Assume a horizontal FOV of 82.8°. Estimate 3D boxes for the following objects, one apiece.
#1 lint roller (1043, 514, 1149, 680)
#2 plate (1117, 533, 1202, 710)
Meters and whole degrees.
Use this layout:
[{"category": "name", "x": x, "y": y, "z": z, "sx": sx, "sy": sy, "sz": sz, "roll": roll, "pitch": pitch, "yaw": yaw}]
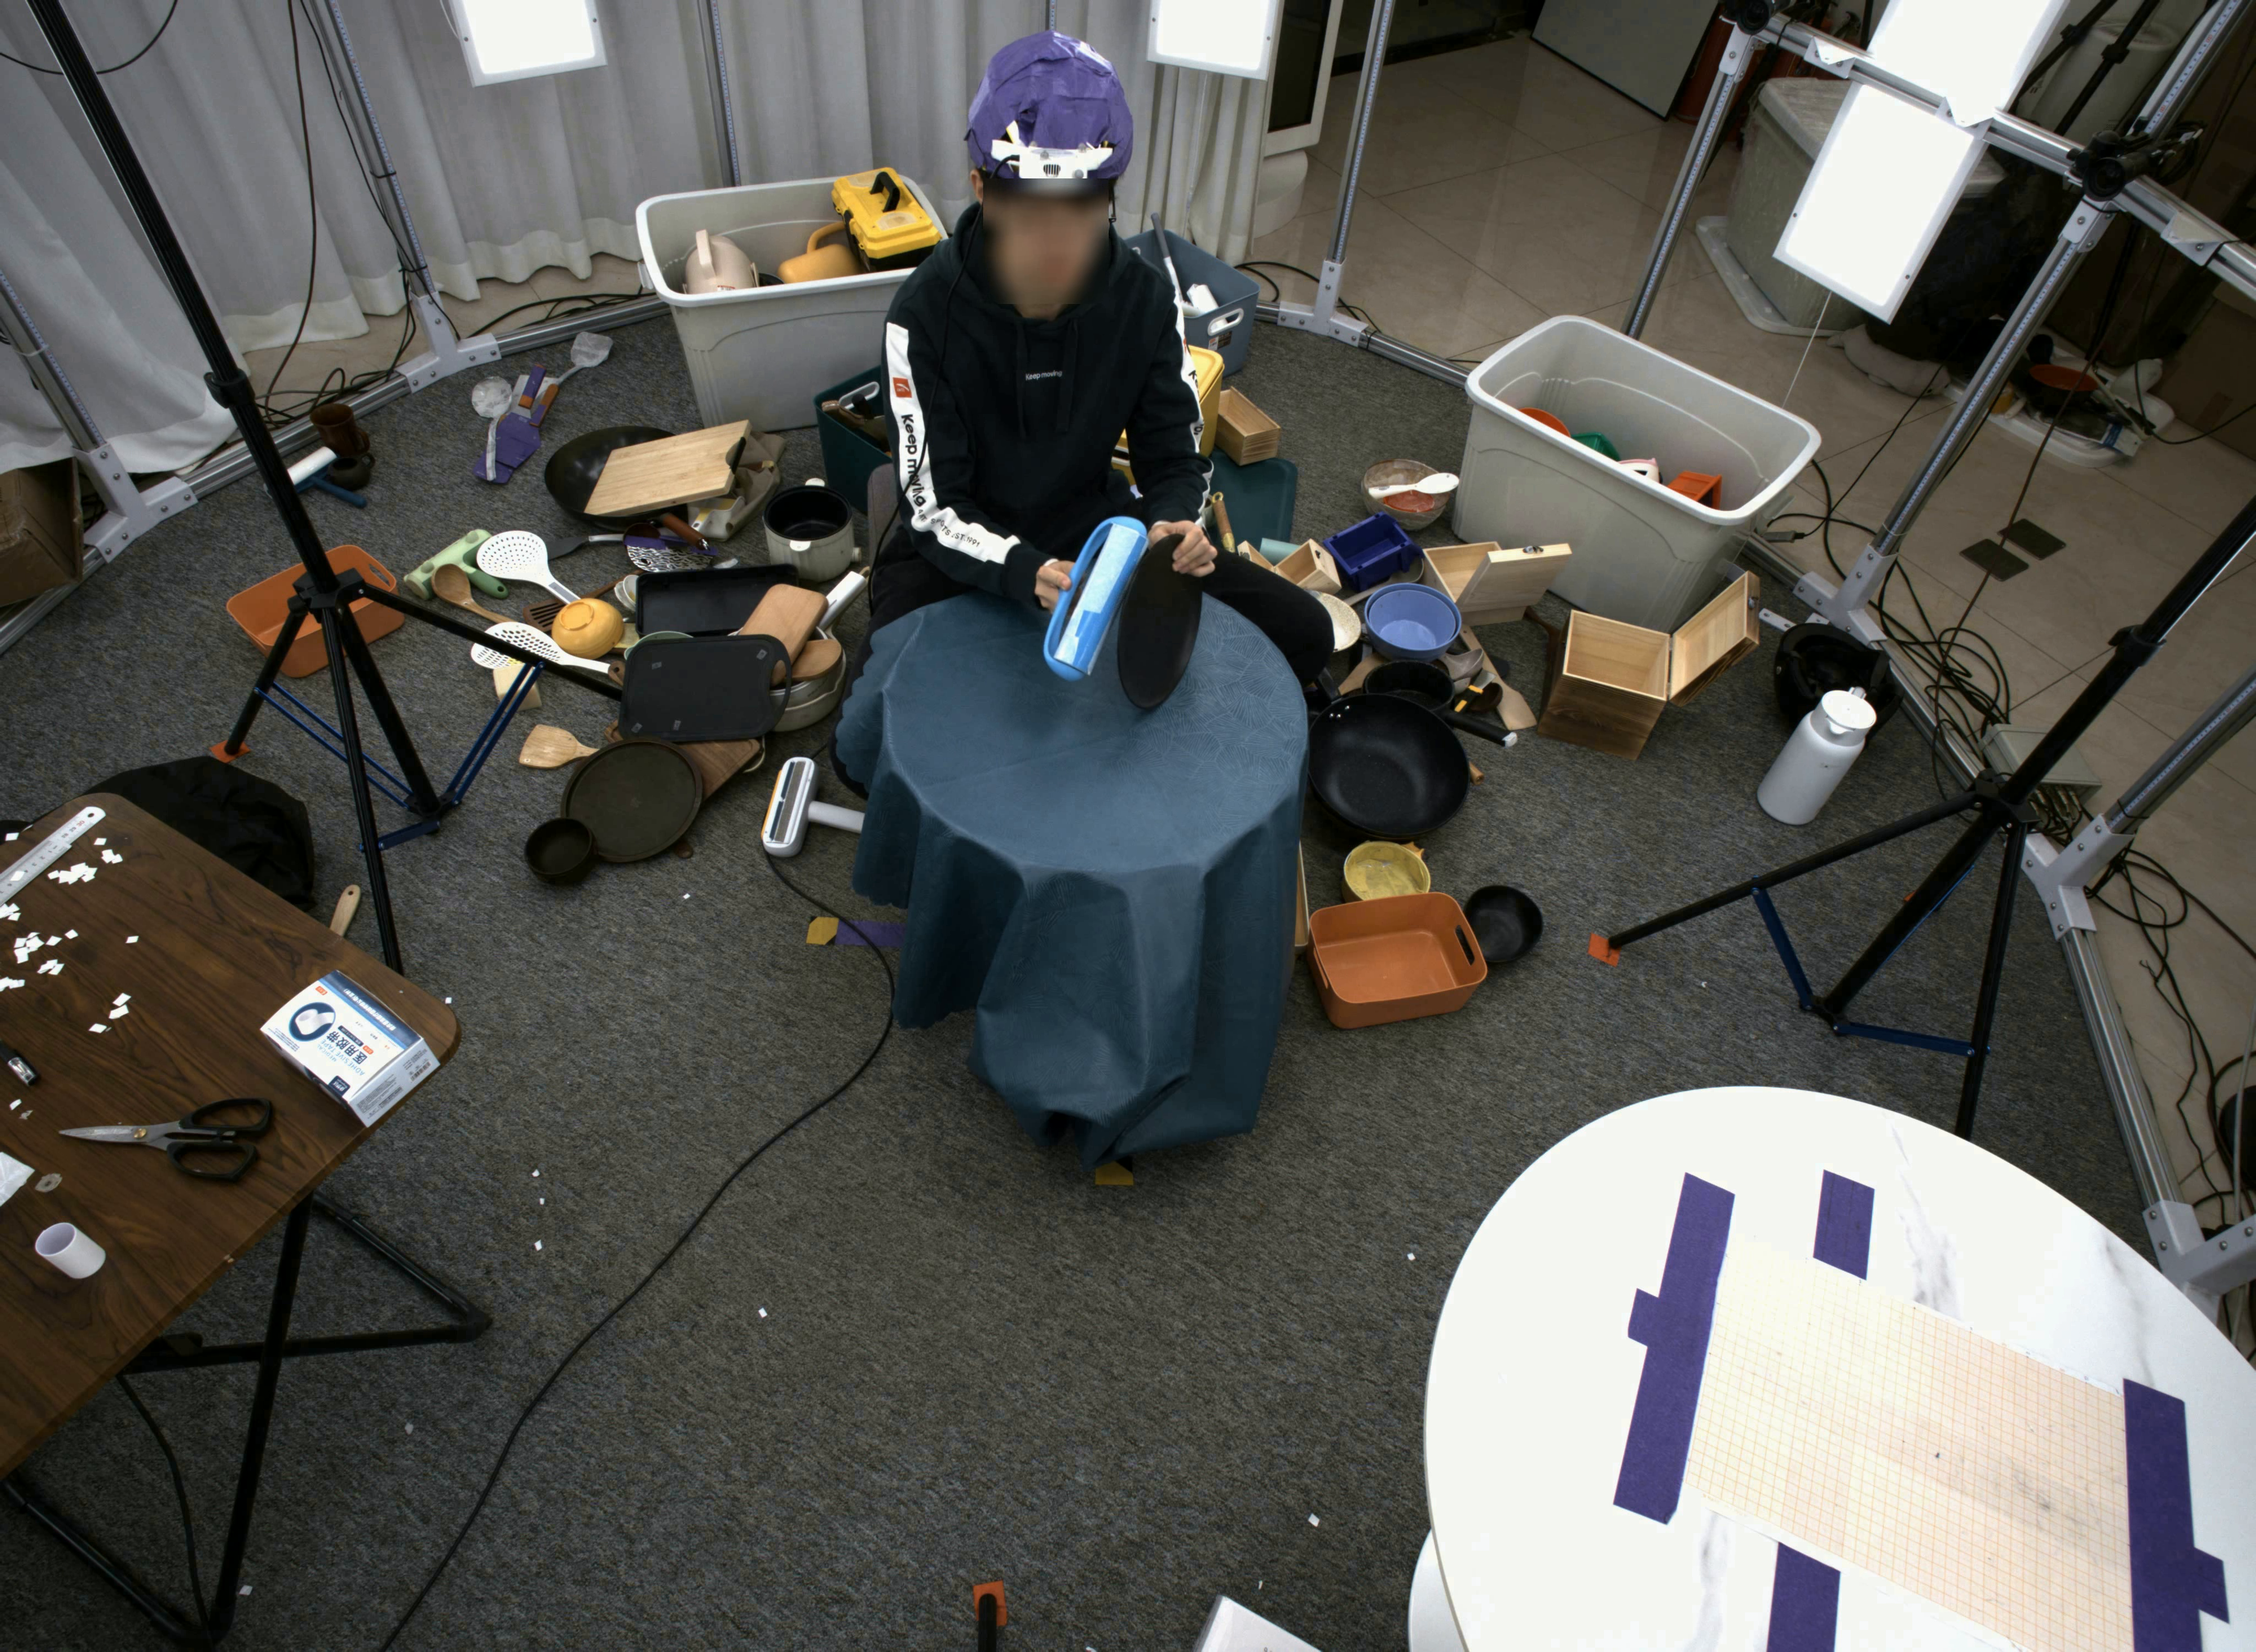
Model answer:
[{"category": "lint roller", "x": -0.060, "y": -0.308, "z": 1.730, "sx": 0.067, "sy": 0.229, "sz": 0.182, "roll": 23, "pitch": -1, "yaw": -25}, {"category": "plate", "x": 0.039, "y": -0.281, "z": 1.765, "sx": 0.023, "sy": 0.238, "sz": 0.248, "roll": 14, "pitch": 48, "yaw": 25}]
